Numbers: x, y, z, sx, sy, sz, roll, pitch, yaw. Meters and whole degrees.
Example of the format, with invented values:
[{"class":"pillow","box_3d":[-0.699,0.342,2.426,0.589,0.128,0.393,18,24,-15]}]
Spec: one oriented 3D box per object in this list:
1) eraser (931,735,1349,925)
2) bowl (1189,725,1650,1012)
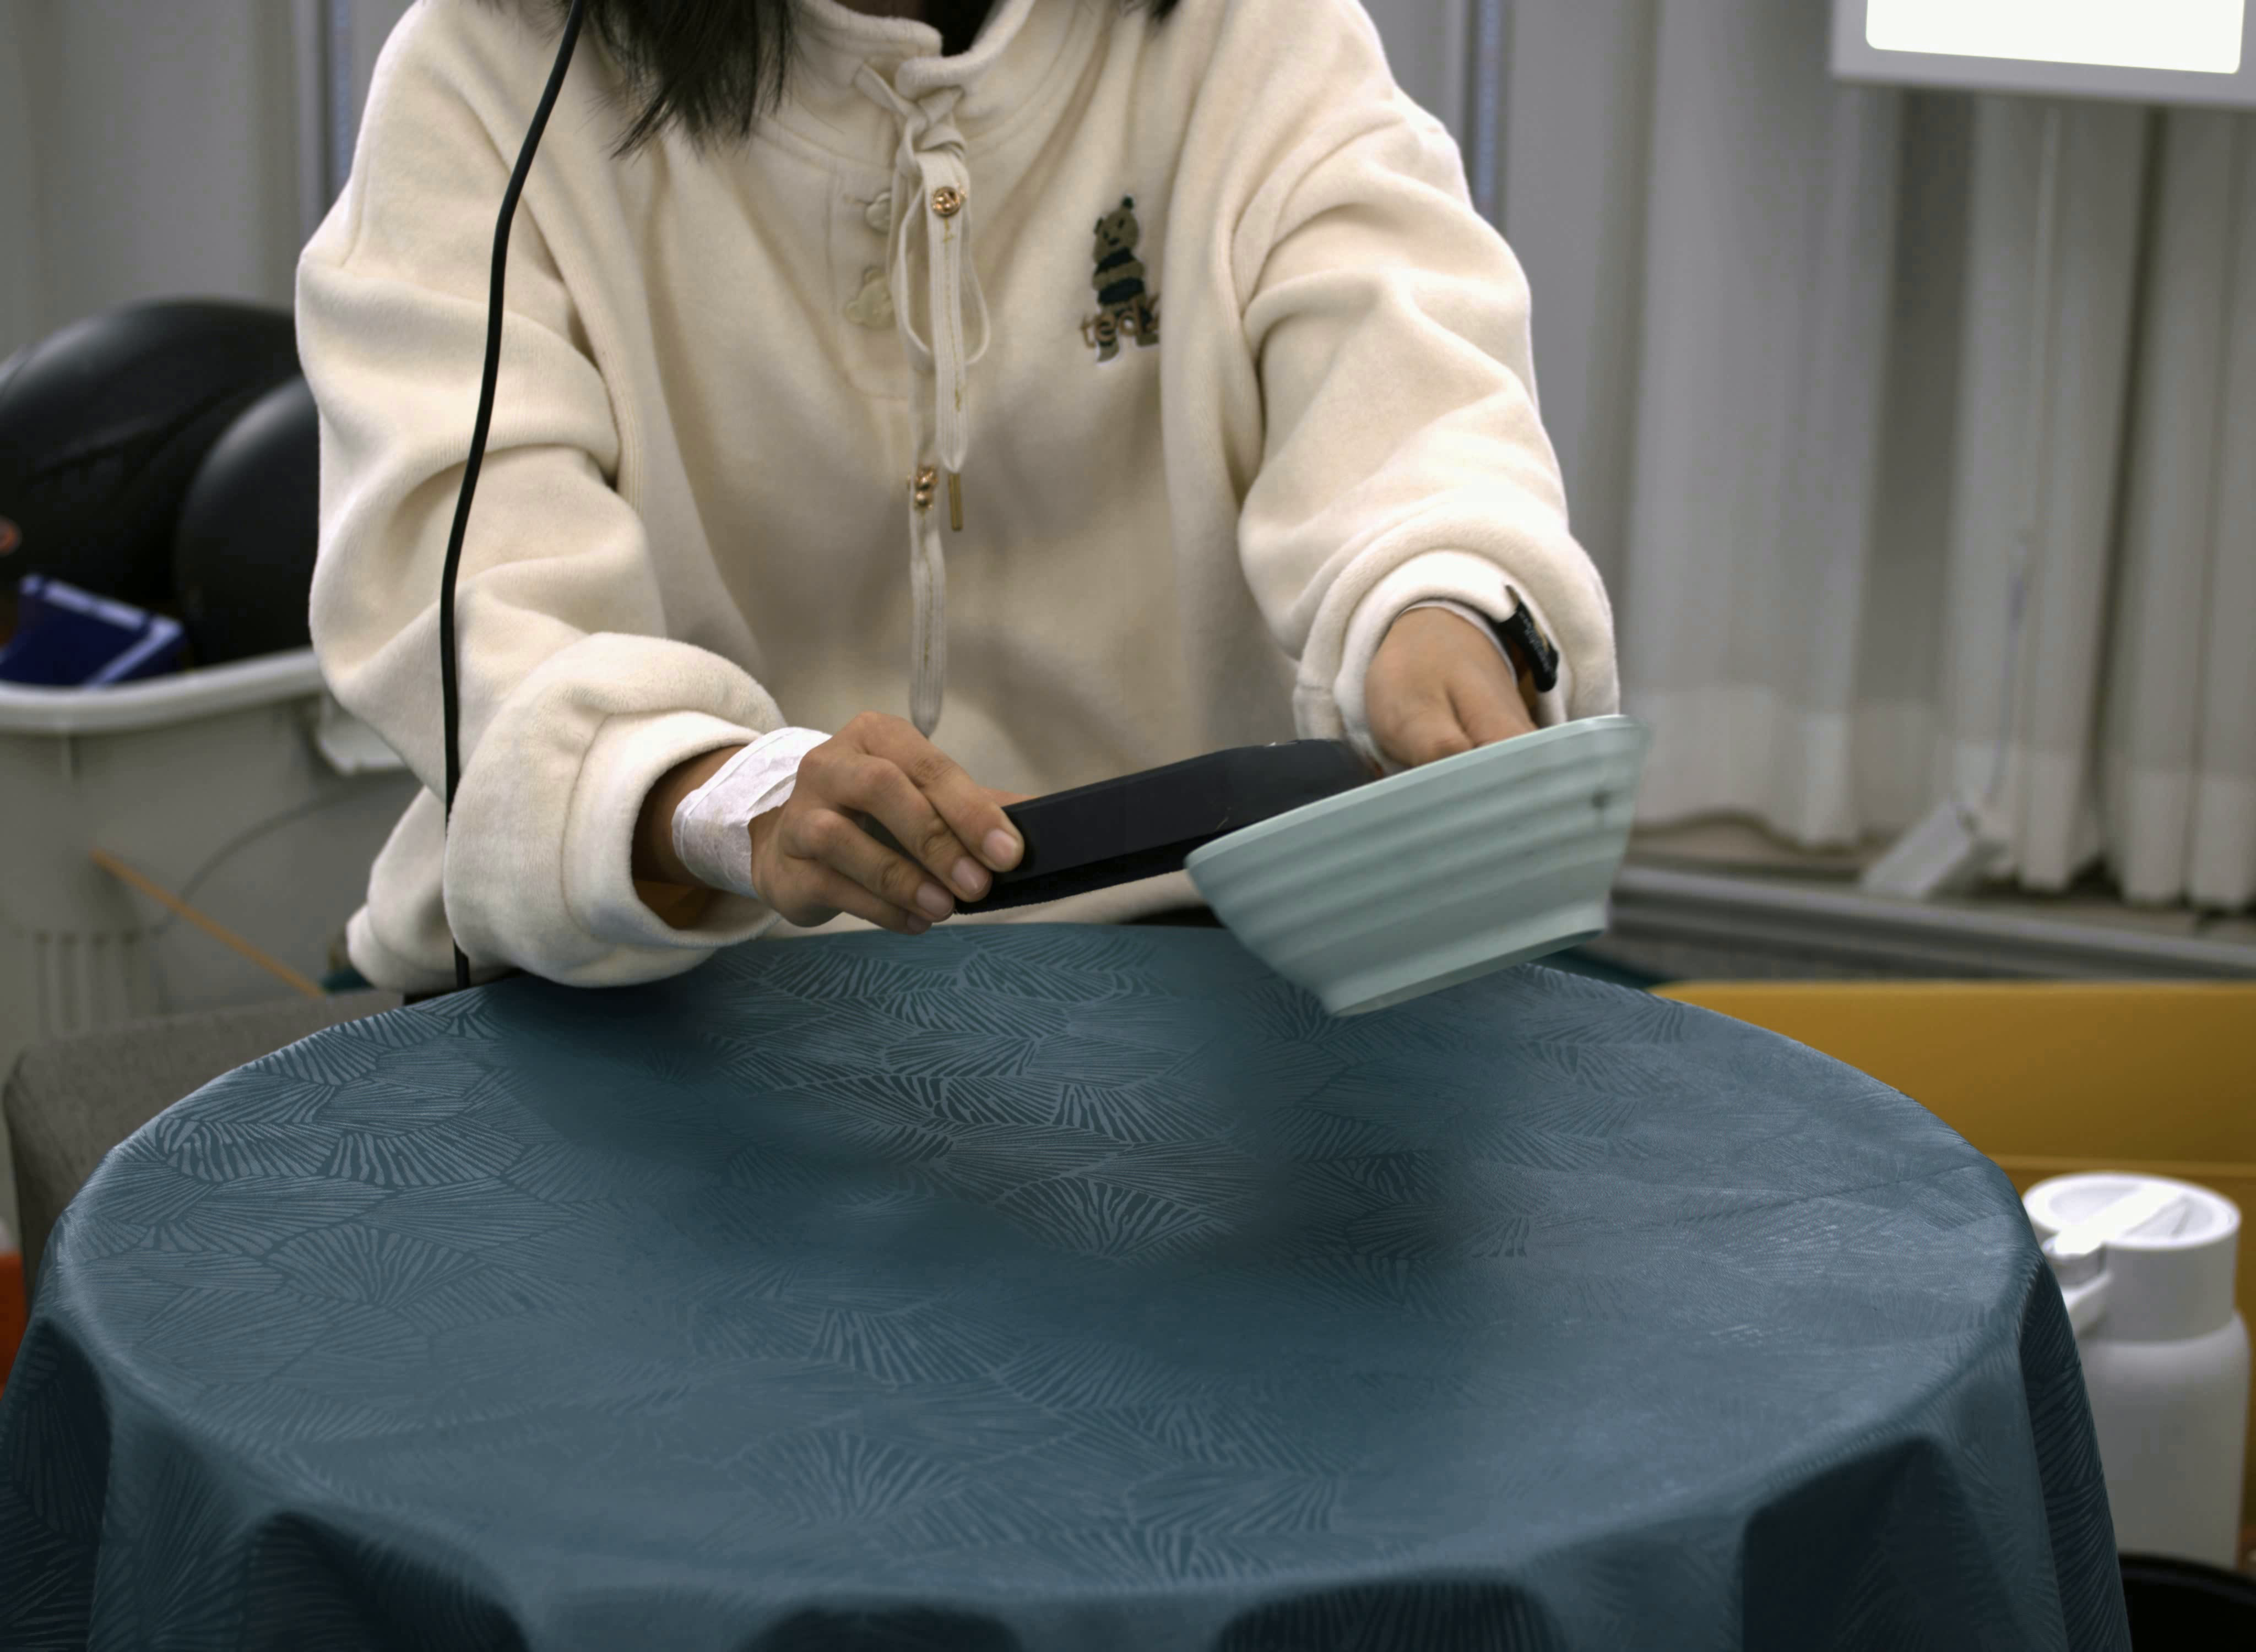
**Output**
[{"class":"eraser","box_3d":[0.004,0.001,1.581,0.124,0.030,0.054,-17,-7,37]},{"class":"bowl","box_3d":[0.092,0.016,1.547,0.151,0.059,0.151,-15,-4,0]}]
